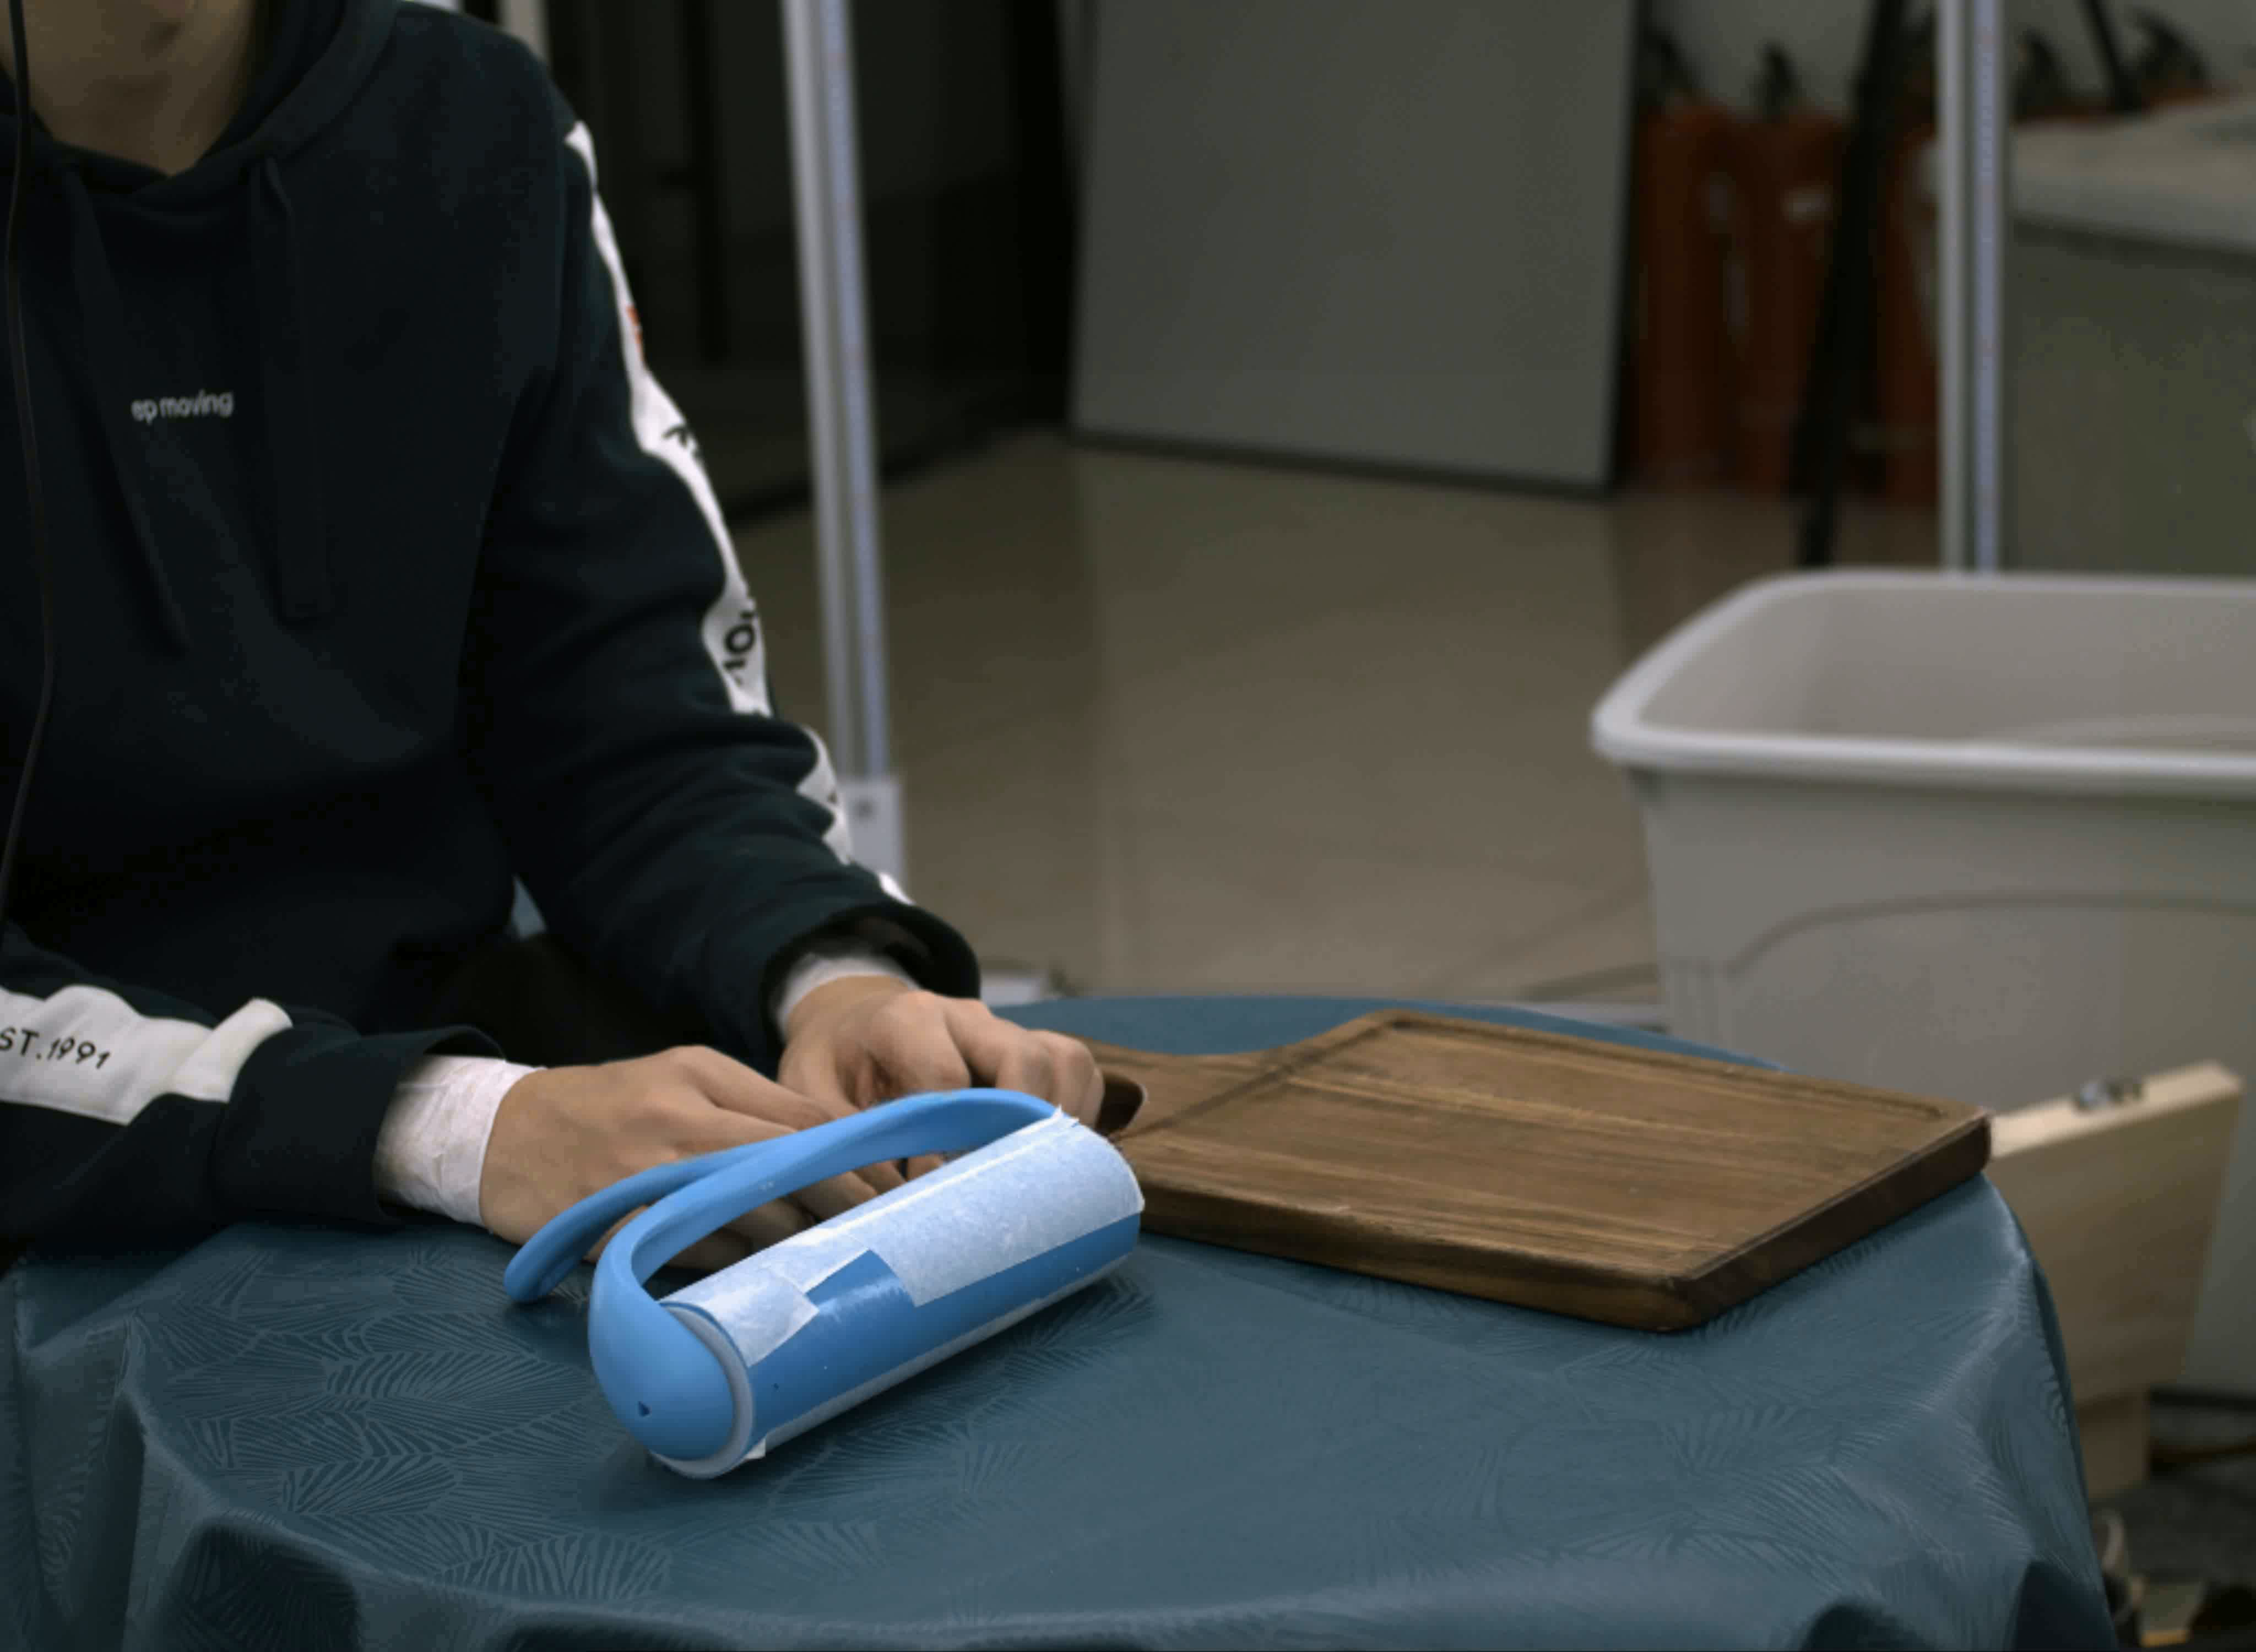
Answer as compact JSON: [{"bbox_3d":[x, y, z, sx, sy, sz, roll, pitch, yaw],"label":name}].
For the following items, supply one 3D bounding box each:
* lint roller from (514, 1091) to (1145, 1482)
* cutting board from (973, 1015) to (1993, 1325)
[{"bbox_3d":[-0.119,0.132,1.642,0.181,0.068,0.225,6,18,33],"label":"lint roller"},{"bbox_3d":[0.089,0.102,1.775,0.355,0.023,0.197,7,17,39],"label":"cutting board"}]
